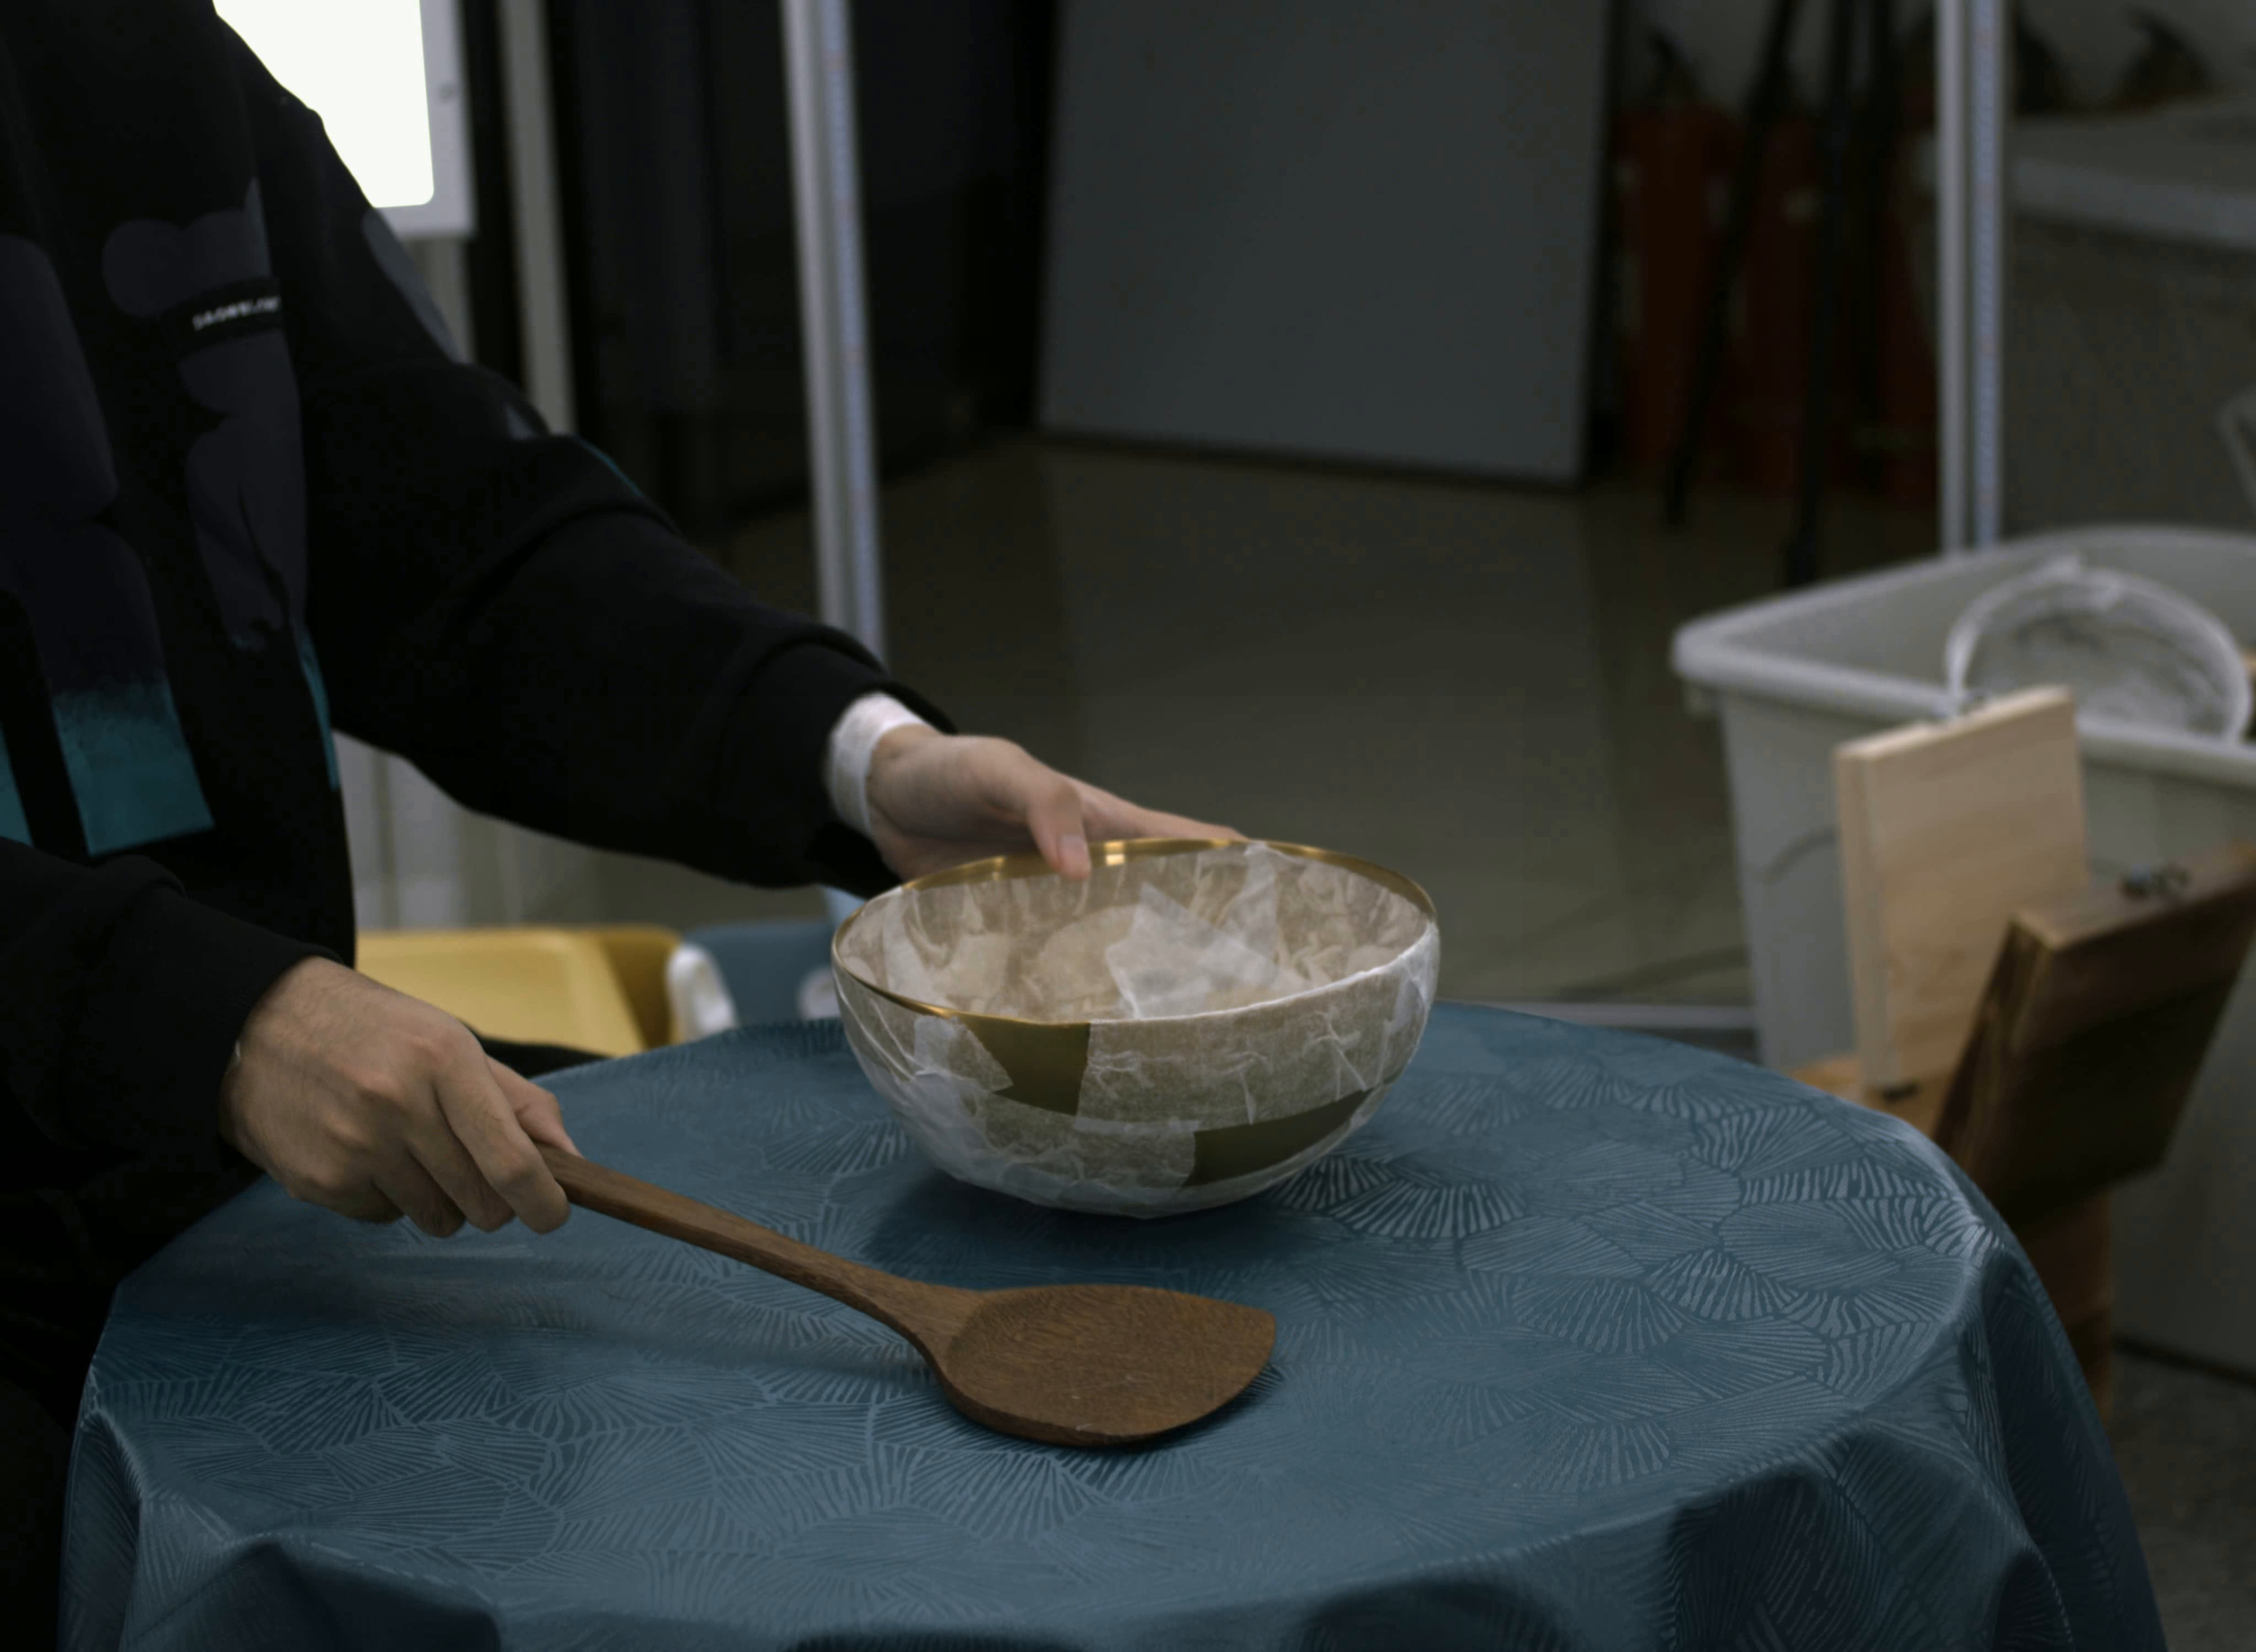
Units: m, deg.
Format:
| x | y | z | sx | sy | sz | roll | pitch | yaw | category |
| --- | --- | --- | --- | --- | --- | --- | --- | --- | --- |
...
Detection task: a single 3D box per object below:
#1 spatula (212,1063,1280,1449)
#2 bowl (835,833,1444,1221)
| x | y | z | sx | sy | sz | roll | pitch | yaw | category |
| --- | --- | --- | --- | --- | --- | --- | --- | --- | --- |
| -0.130 | 0.125 | 1.656 | 0.387 | 0.016 | 0.094 | 16 | 26 | 29 | spatula |
| 0.006 | 0.073 | 1.769 | 0.212 | 0.095 | 0.215 | -6 | 16 | 1 | bowl |
